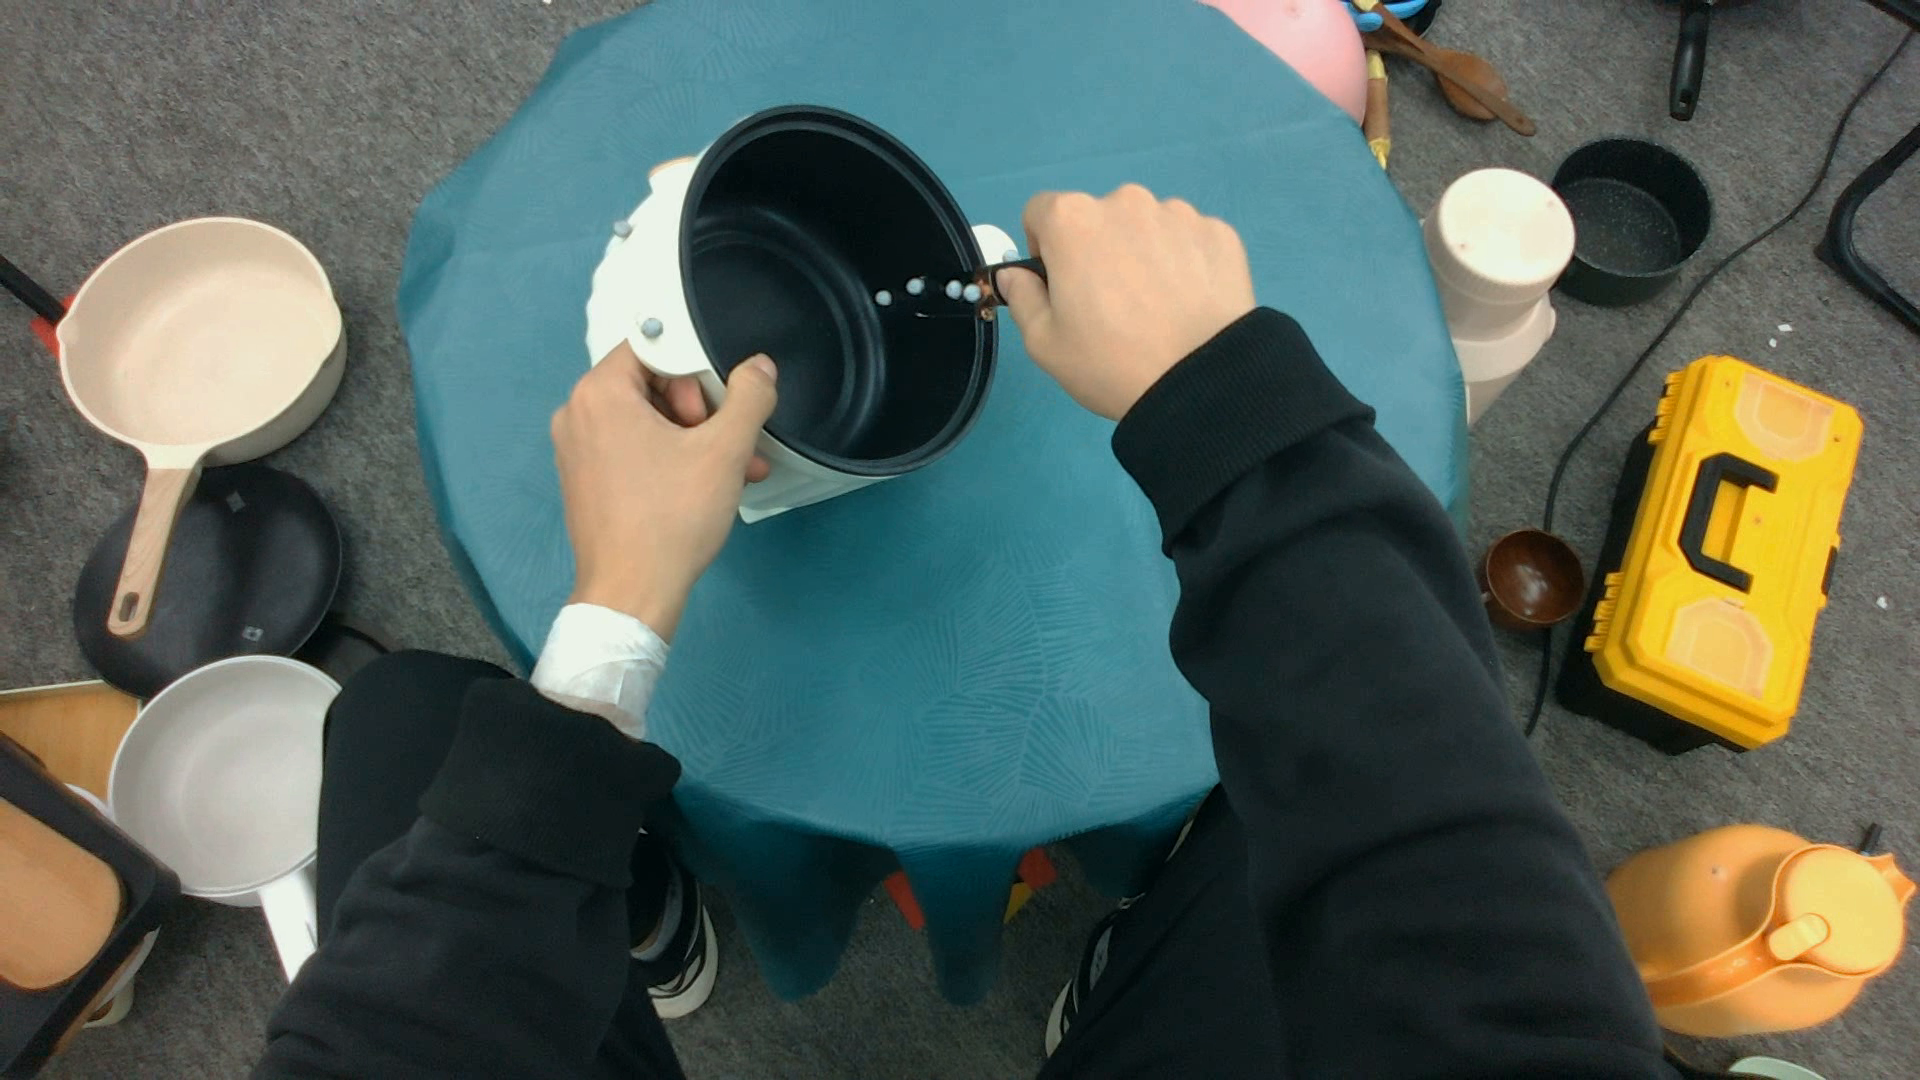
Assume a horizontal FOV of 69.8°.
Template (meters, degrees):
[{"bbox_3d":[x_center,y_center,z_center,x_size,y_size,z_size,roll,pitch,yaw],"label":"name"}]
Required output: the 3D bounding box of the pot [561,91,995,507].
[{"bbox_3d":[-0.107,-0.120,0.699,0.241,0.142,0.190,-24,99,-43],"label":"pot"}]

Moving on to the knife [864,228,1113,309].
[{"bbox_3d":[0.002,-0.127,0.656,0.017,0.225,0.026,-28,108,-25],"label":"knife"}]
